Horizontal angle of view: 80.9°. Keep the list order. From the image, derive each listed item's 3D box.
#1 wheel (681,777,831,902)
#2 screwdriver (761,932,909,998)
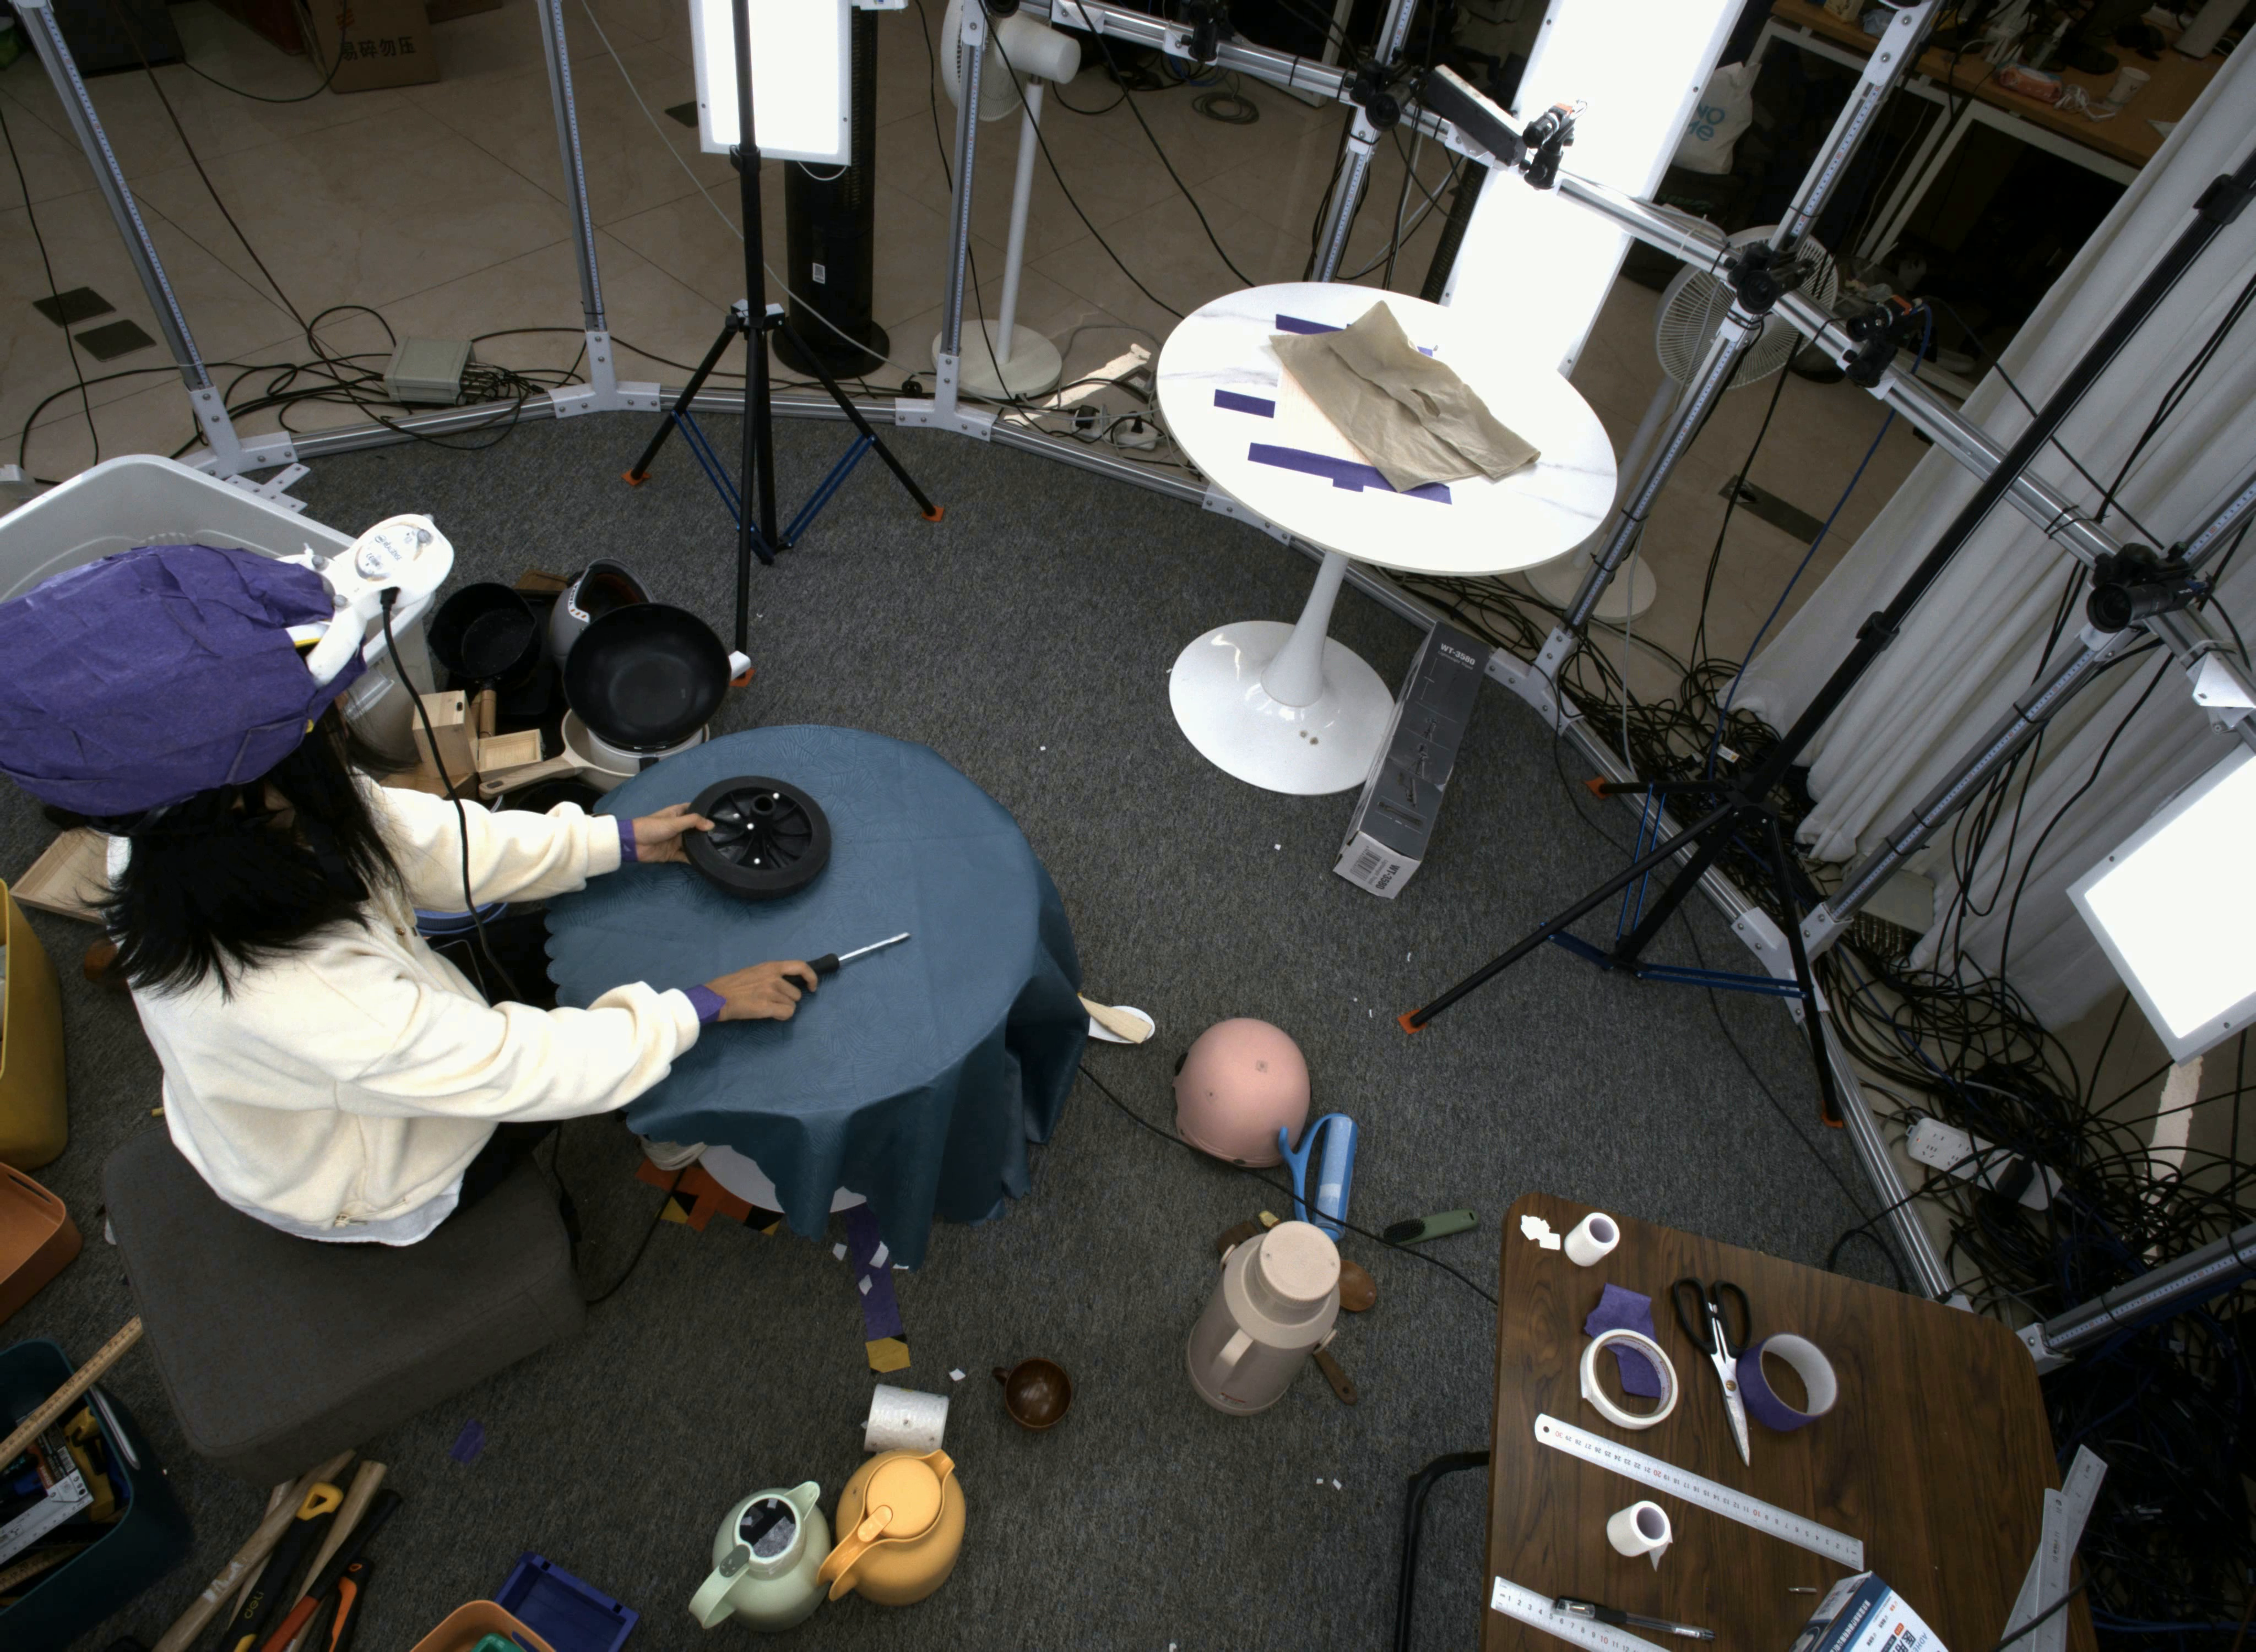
[{"bbox_3d":[-0.470,0.000,1.649,0.189,0.080,0.186,32,45,-2],"label":"wheel"},{"bbox_3d":[-0.356,0.166,1.596,0.199,0.032,0.030,-19,59,-29],"label":"screwdriver"}]
